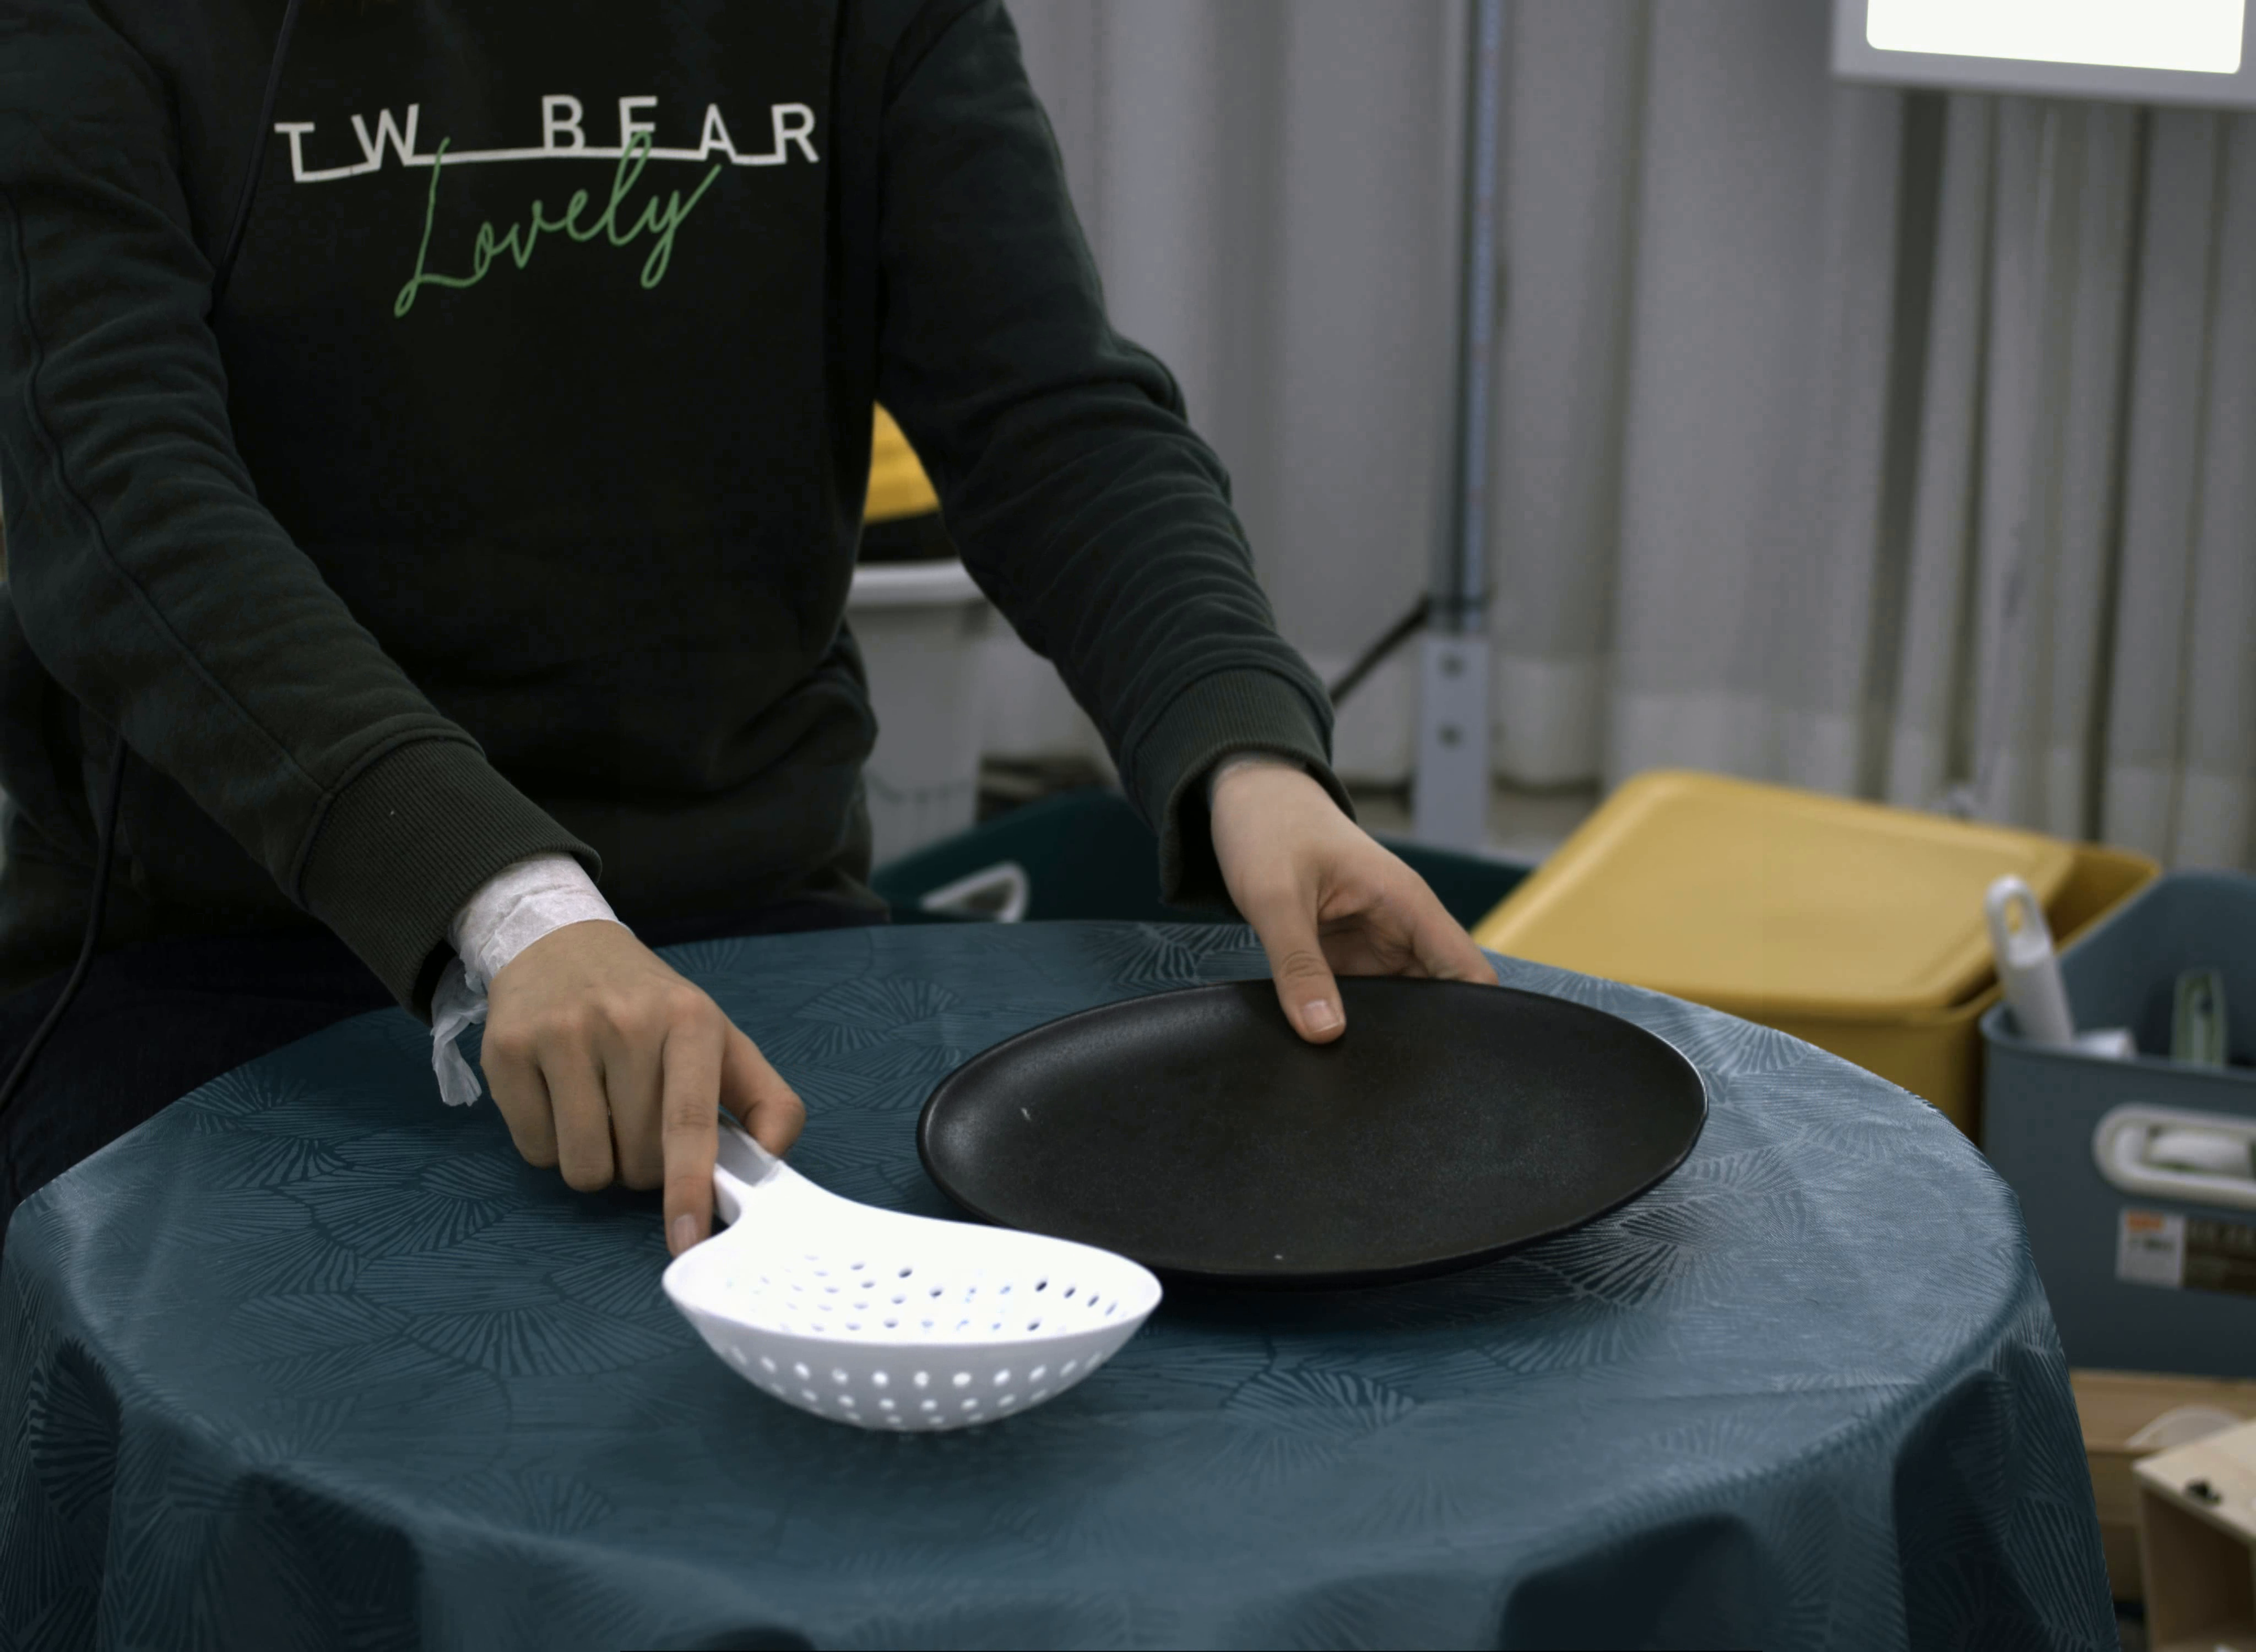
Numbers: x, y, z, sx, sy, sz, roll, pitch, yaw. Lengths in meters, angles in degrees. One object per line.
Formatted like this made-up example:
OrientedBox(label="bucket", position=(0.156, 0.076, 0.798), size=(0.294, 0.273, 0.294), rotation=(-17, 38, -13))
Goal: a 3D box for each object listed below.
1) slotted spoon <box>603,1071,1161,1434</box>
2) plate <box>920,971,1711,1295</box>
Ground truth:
OrientedBox(label="slotted spoon", position=(-0.097, 0.114, 1.533), size=(0.136, 0.046, 0.346), rotation=(1, 14, -21))
OrientedBox(label="plate", position=(0.057, 0.097, 1.615), size=(0.243, 0.023, 0.243), rotation=(-3, 19, 1))
